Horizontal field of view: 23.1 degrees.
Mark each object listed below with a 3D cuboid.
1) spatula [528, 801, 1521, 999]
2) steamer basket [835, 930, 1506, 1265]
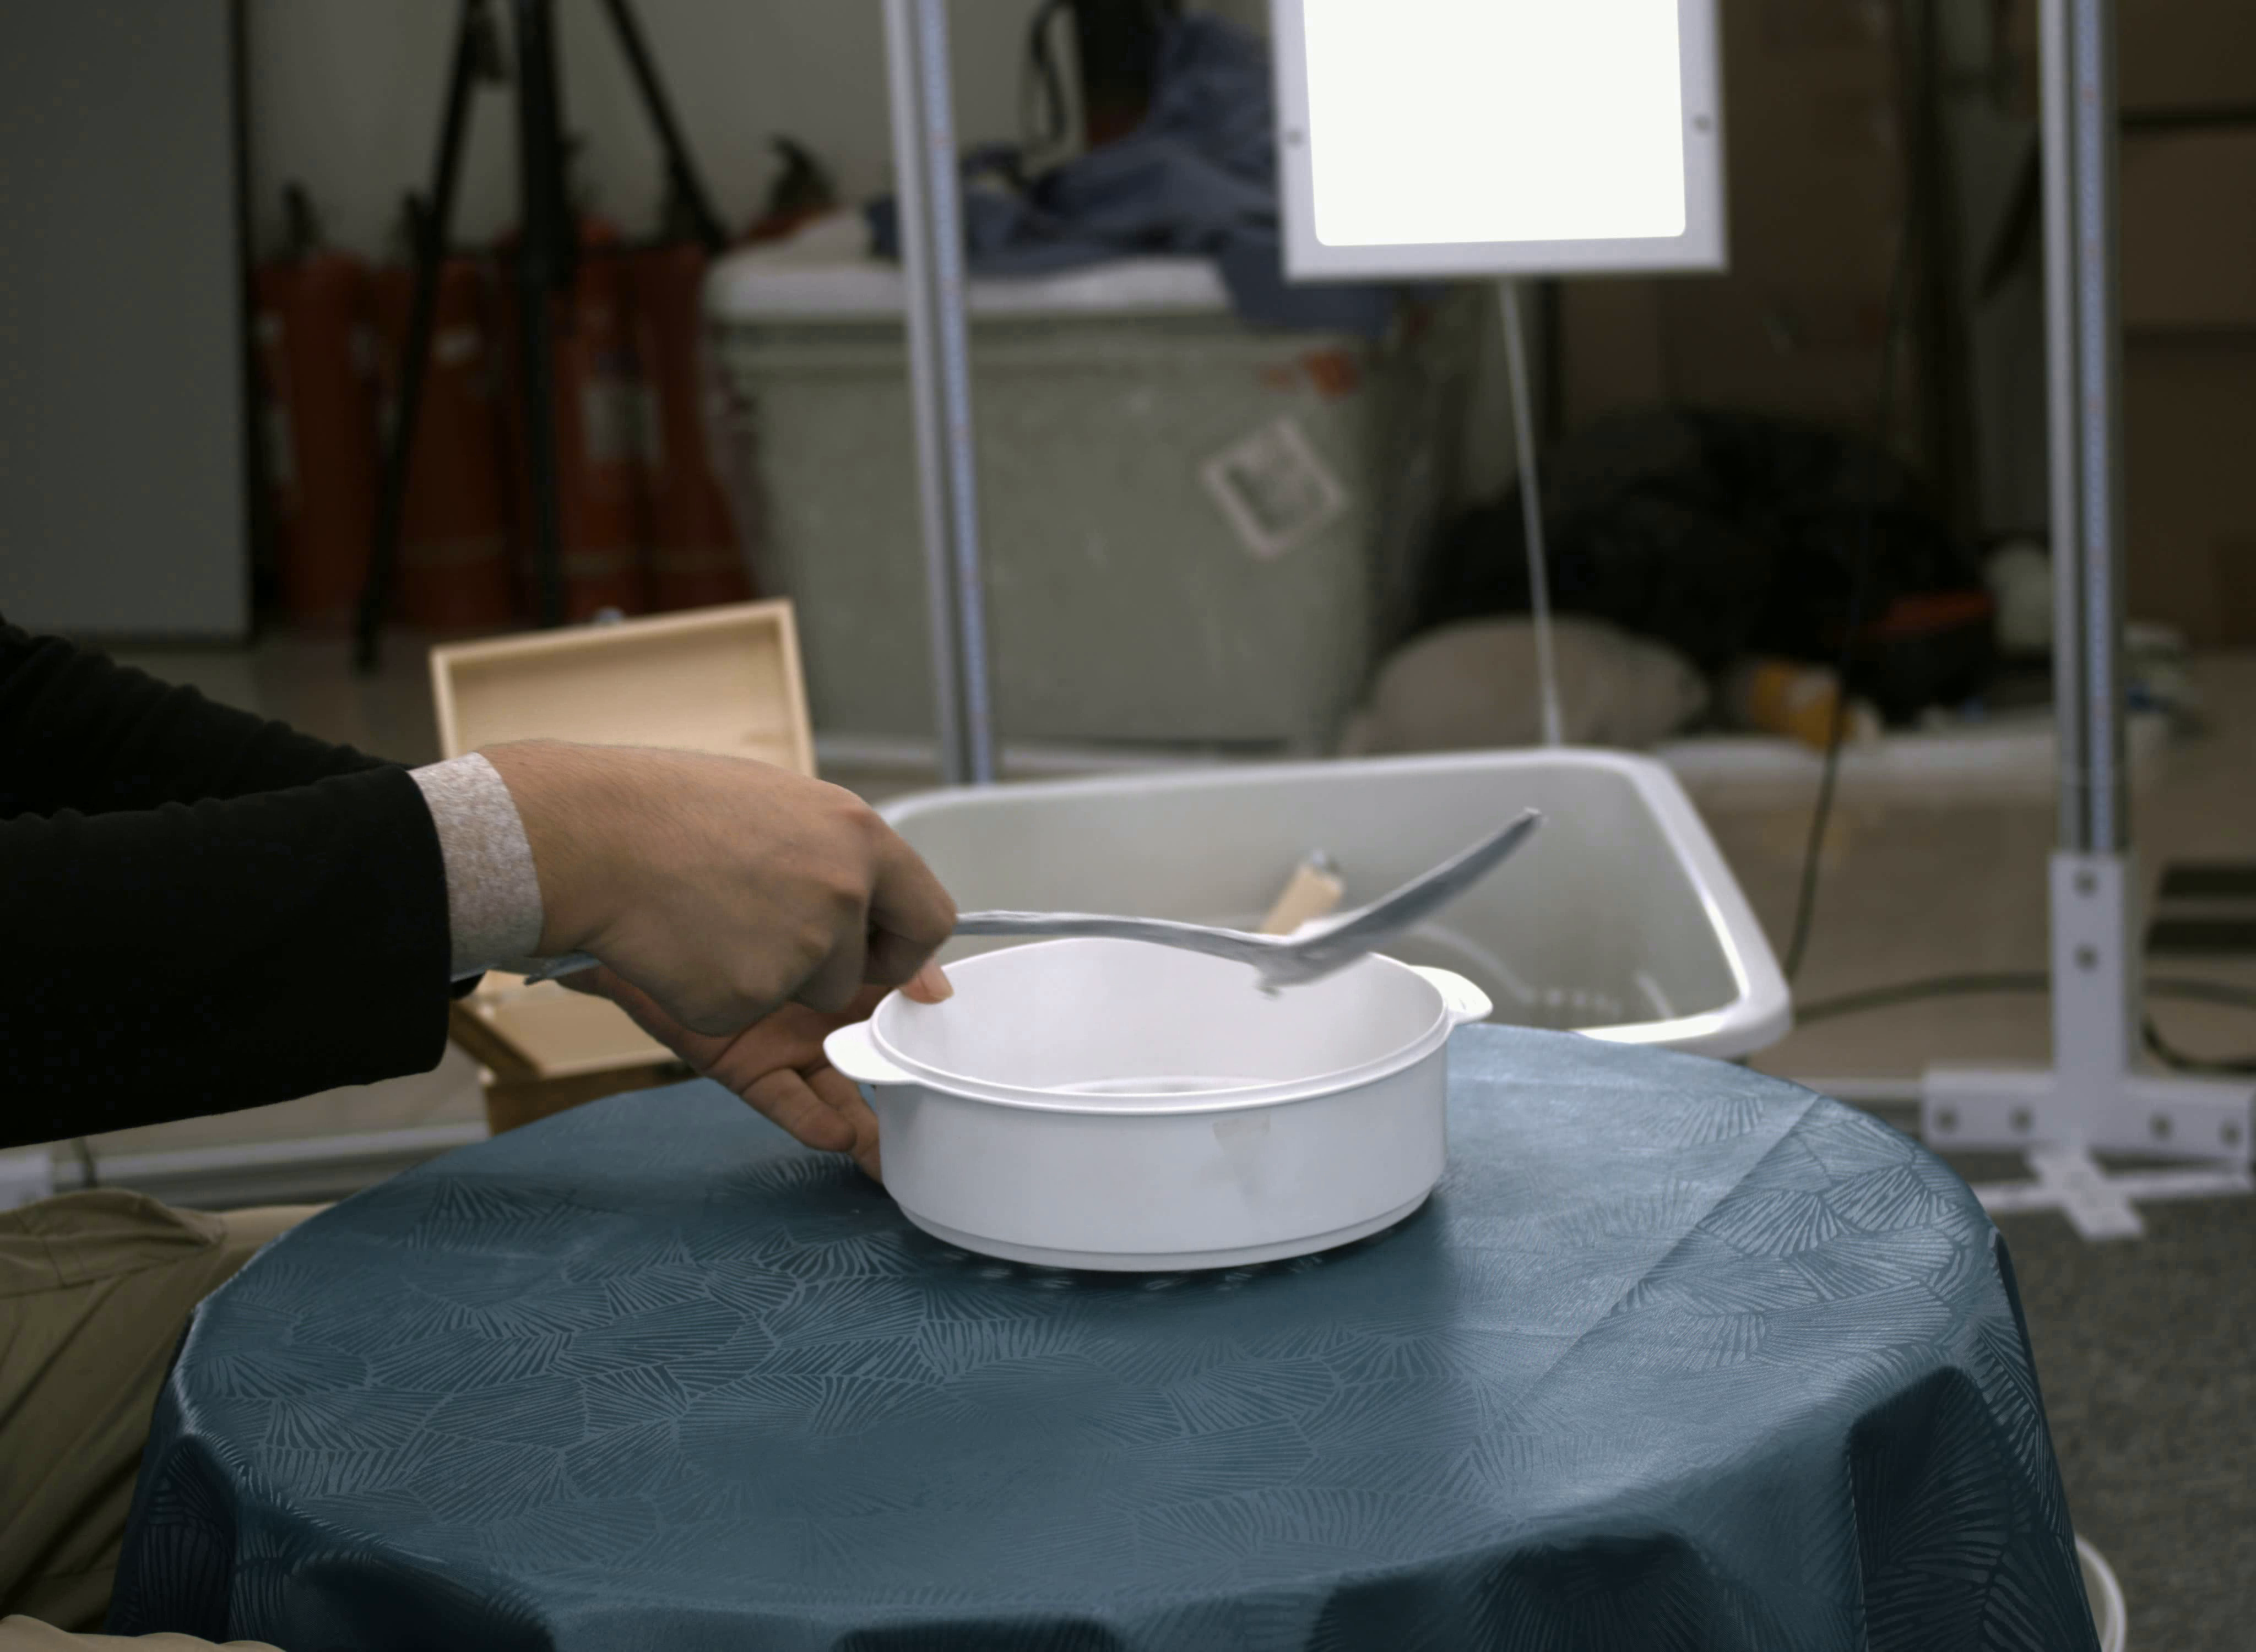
[{"bbox_3d":[-0.030,0.028,1.769,0.356,0.045,0.101,0,-20,-31],"label":"spatula"},{"bbox_3d":[0.017,0.092,1.874,0.228,0.069,0.203,-6,14,-11],"label":"steamer basket"}]
